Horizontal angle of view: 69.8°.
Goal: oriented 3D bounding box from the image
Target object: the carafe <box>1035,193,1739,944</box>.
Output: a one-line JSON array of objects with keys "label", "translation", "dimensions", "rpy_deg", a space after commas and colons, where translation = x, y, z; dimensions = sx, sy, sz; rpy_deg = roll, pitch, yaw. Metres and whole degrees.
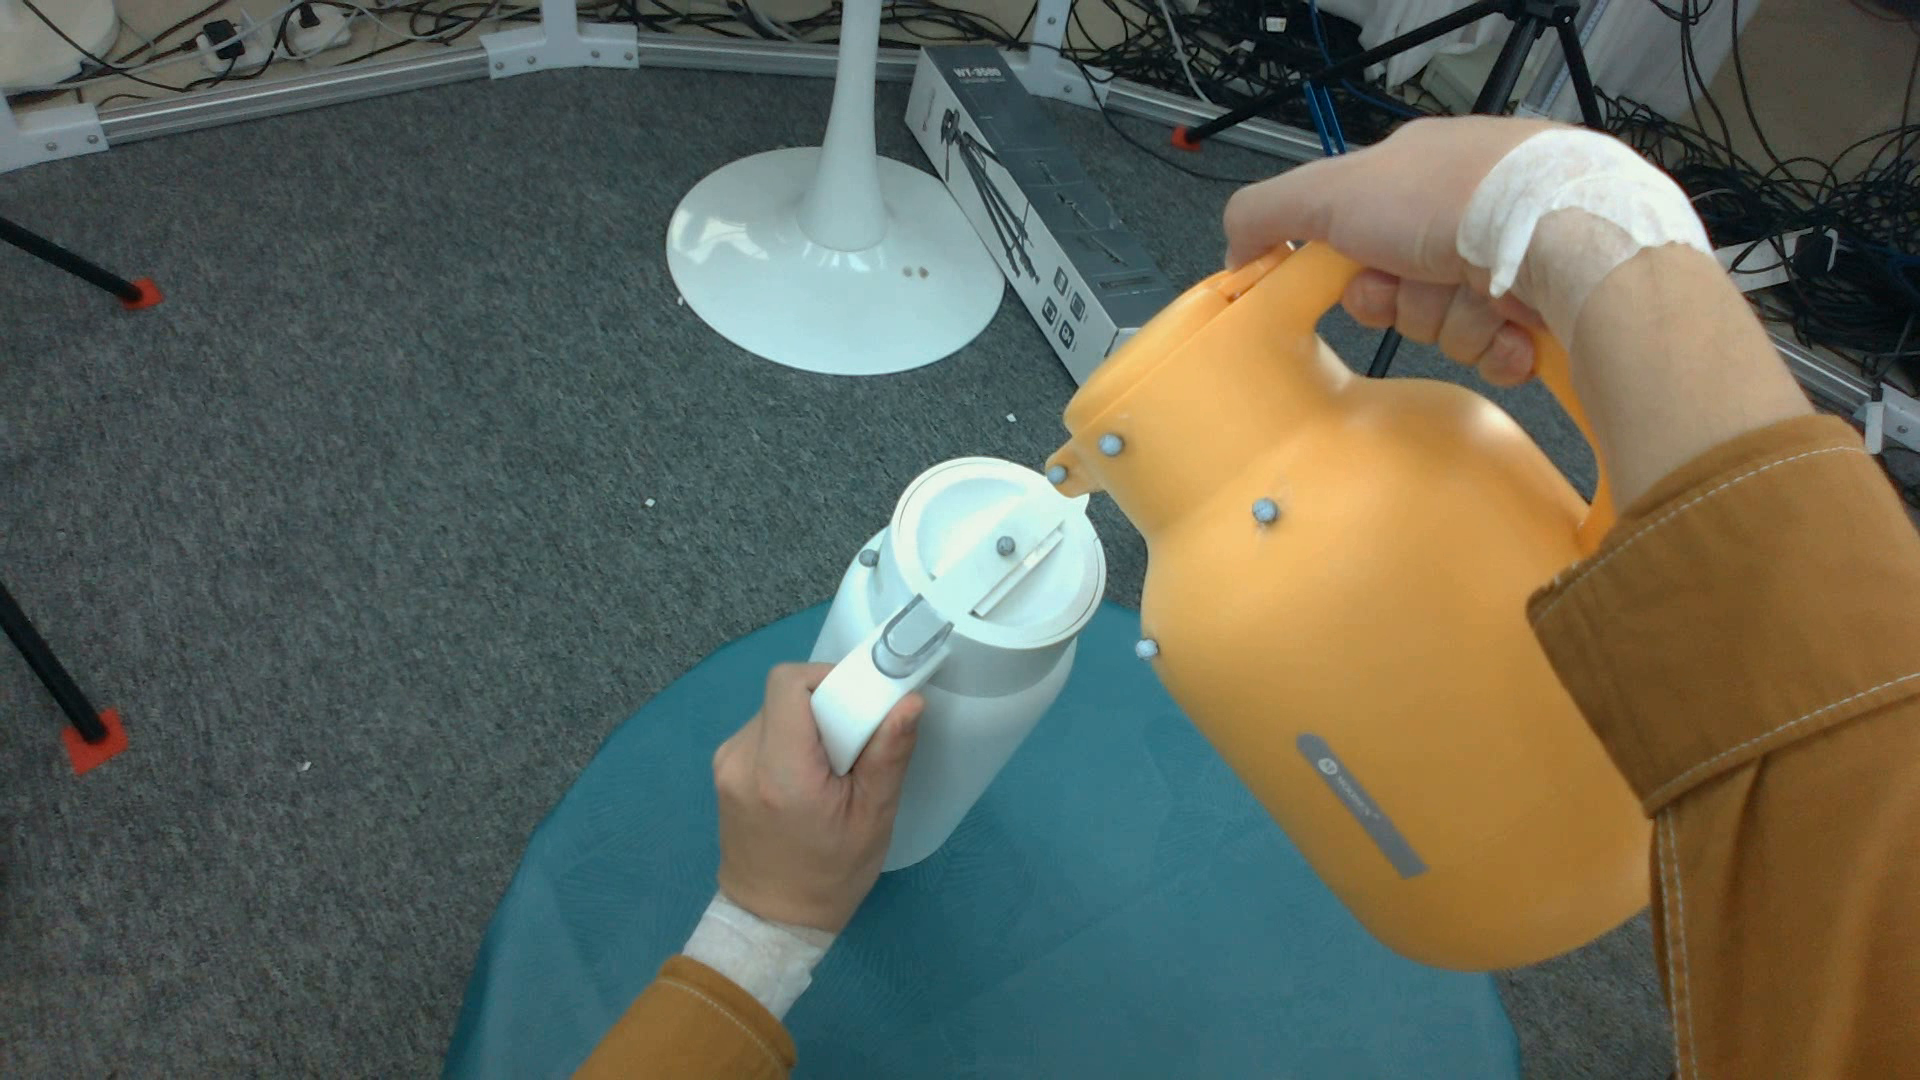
[{"label": "carafe", "translation": [0.158, 0.005, 0.506], "dimensions": [0.260, 0.201, 0.164], "rpy_deg": [47, 45, -1]}]

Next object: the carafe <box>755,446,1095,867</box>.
[{"label": "carafe", "translation": [-0.034, 0.079, 0.691], "dimensions": [0.124, 0.267, 0.173], "rpy_deg": [41, 54, 7]}]
